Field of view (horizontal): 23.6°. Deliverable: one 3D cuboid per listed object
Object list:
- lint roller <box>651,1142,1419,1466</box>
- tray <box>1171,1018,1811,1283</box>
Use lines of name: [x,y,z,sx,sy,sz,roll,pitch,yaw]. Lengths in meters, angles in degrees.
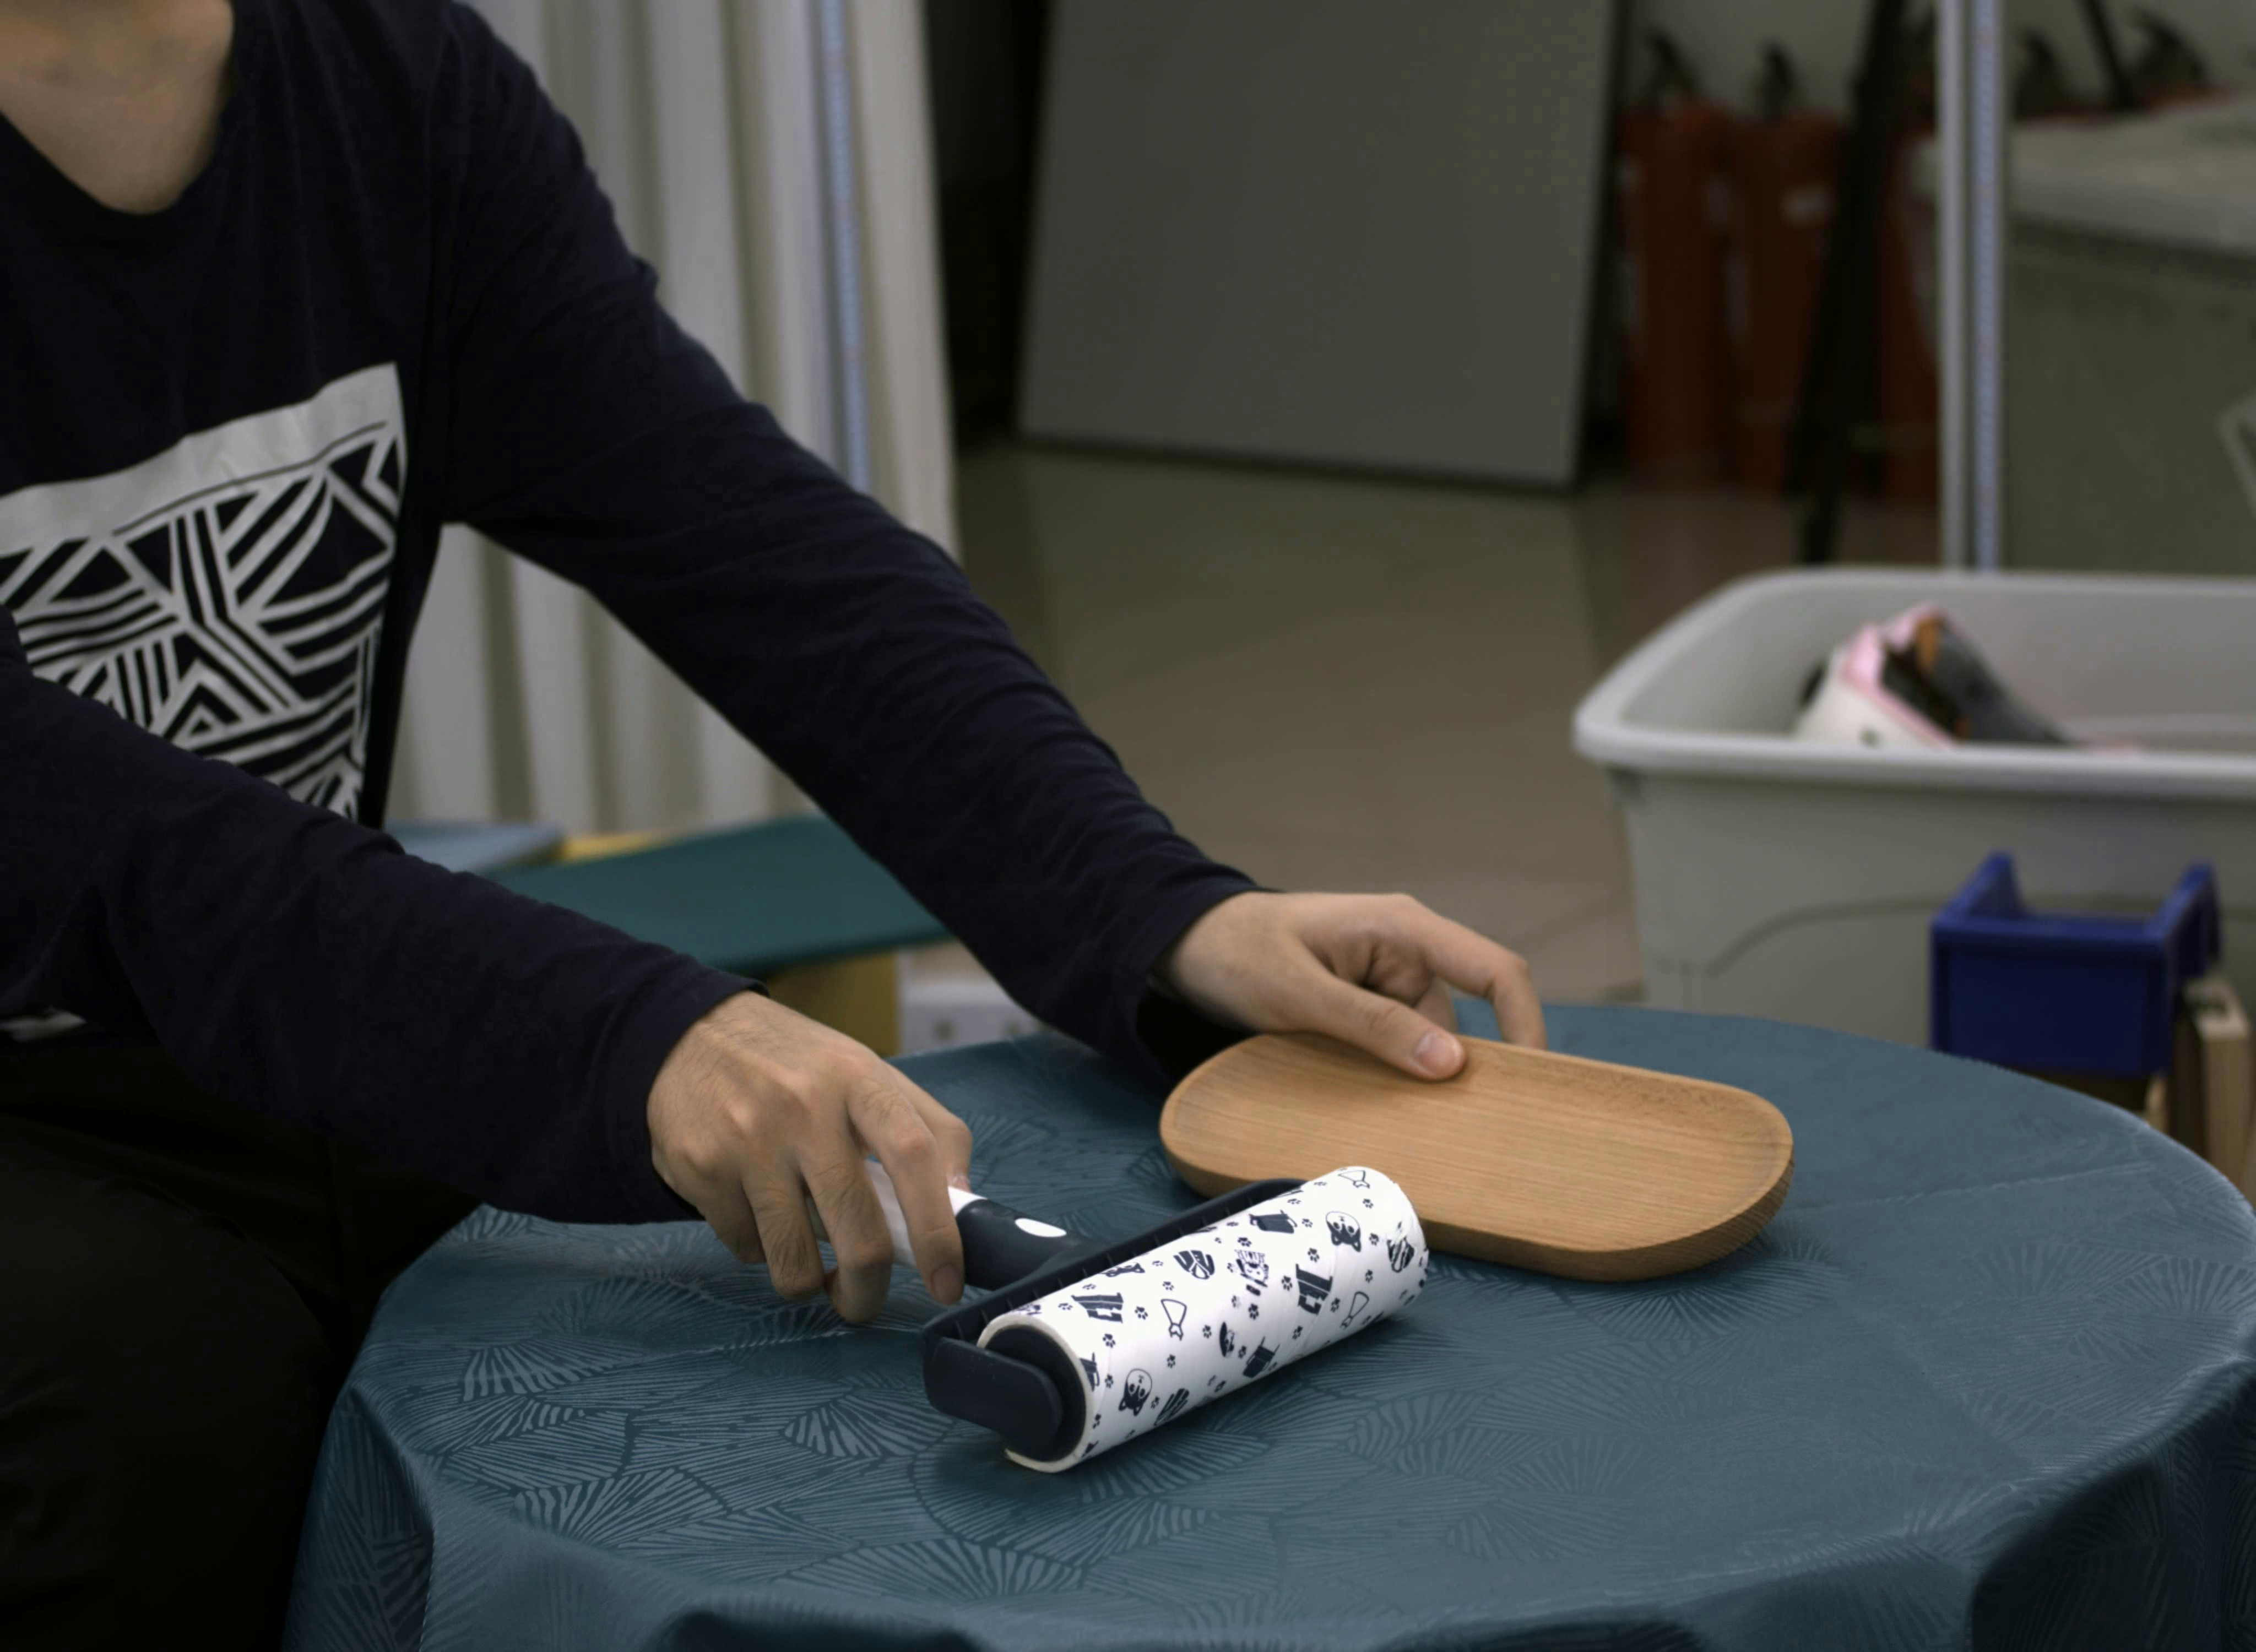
lint roller: [-0.055,0.124,1.640,0.249,0.051,0.173,13,22,39]
tray: [0.114,0.103,1.727,0.233,0.020,0.100,10,37,38]
